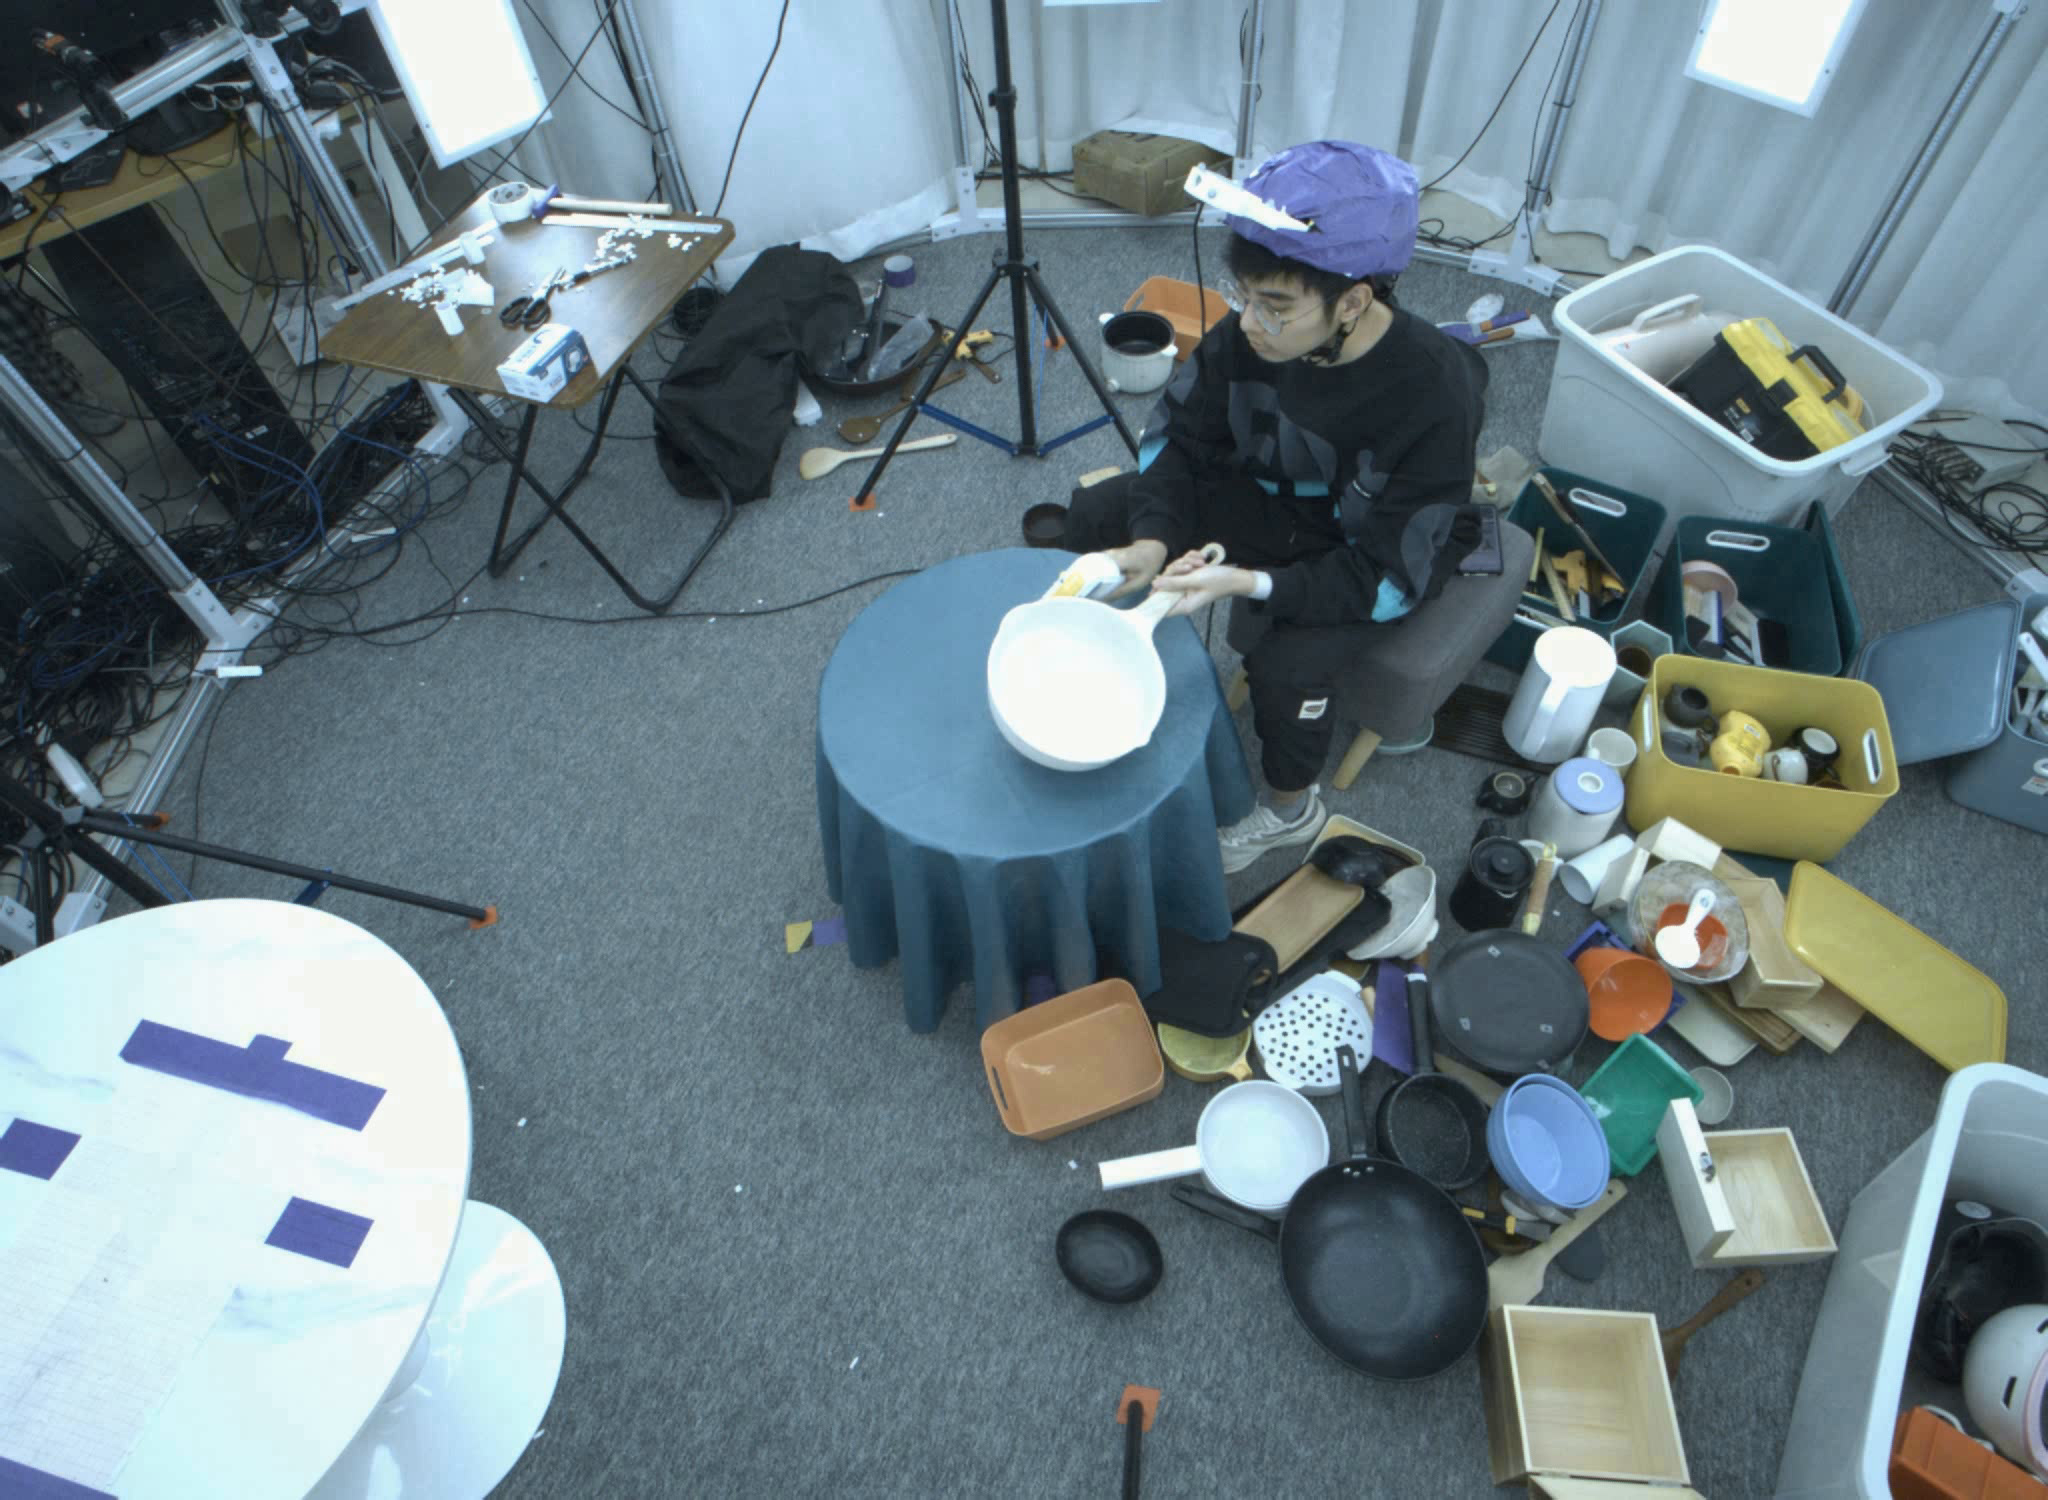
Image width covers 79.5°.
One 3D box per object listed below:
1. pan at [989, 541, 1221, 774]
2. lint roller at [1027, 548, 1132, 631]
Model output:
[{"bbox_3d":[0.132,-0.143,1.748,0.262,0.102,0.437,43,65,7],"label":"pan"},{"bbox_3d":[0.104,-0.236,1.820,0.196,0.191,0.073,-16,66,-46],"label":"lint roller"}]
